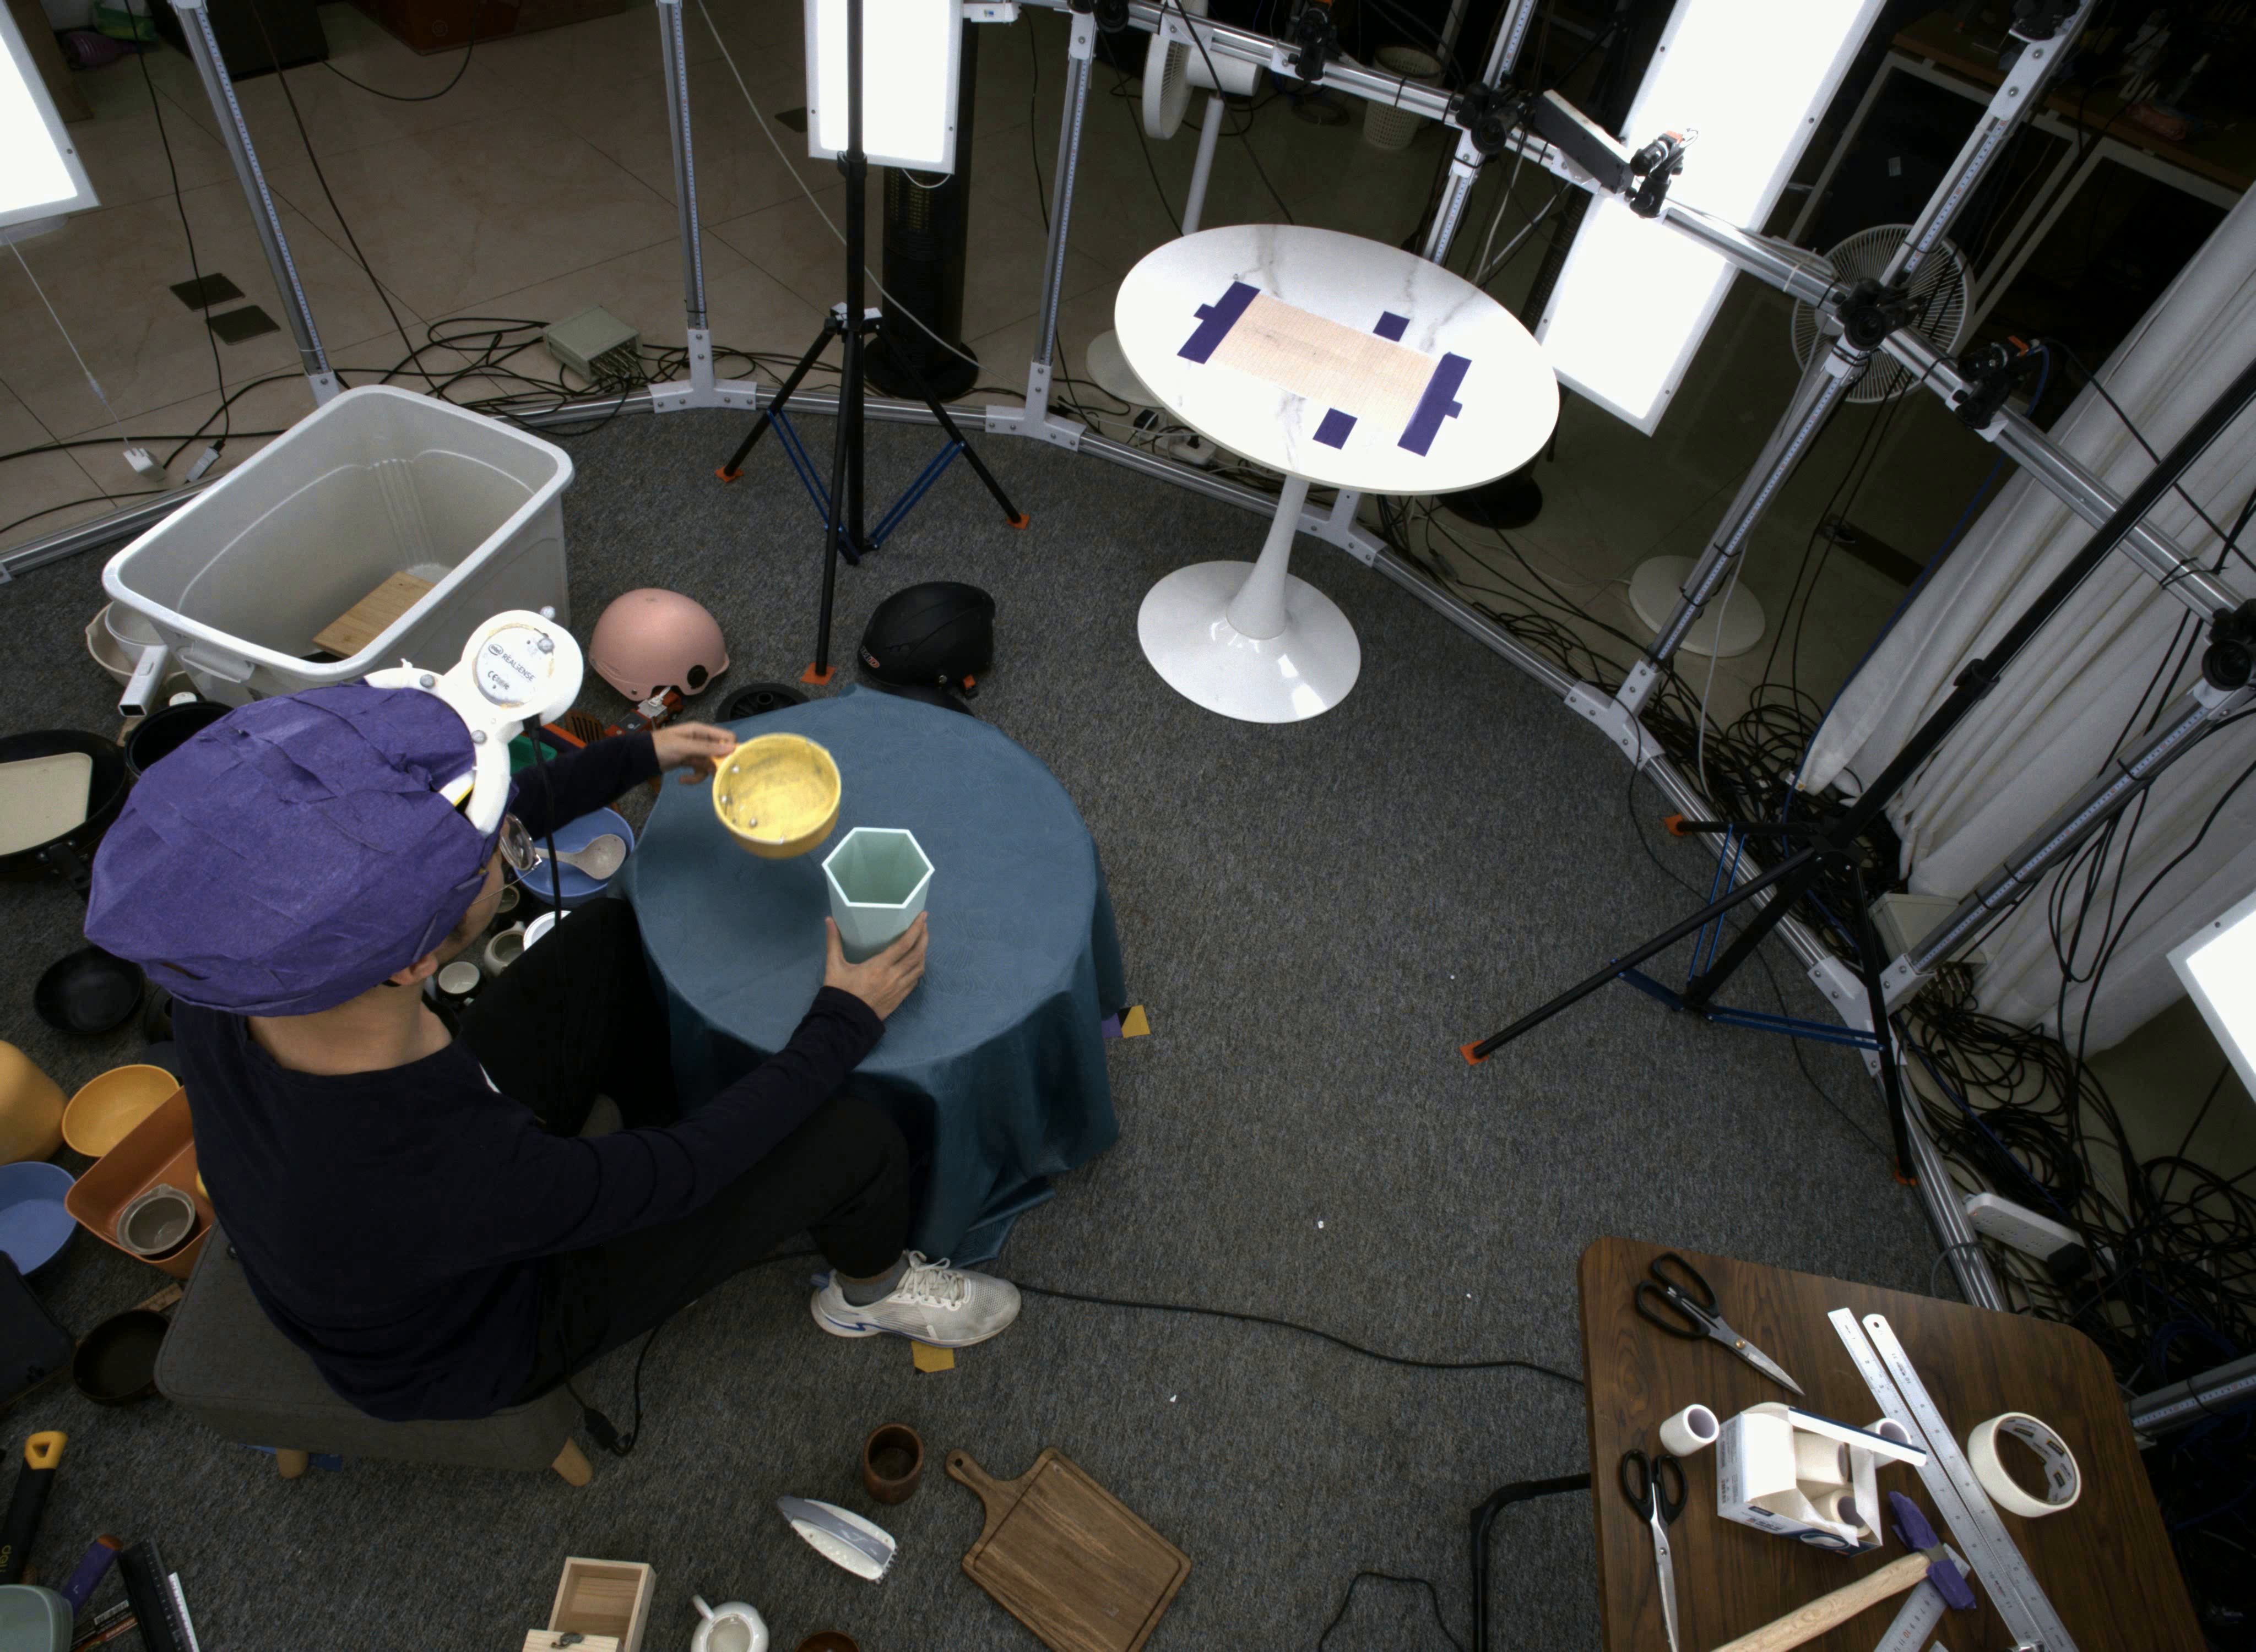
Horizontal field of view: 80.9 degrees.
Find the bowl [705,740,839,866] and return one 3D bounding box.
[{"bbox_3d":[-0.440,-0.033,1.589,0.177,0.075,0.152,30,64,6],"label":"bowl"}]

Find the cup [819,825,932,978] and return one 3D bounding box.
[{"bbox_3d":[-0.303,0.094,1.580,0.115,0.167,0.127,-28,61,-27],"label":"cup"}]
